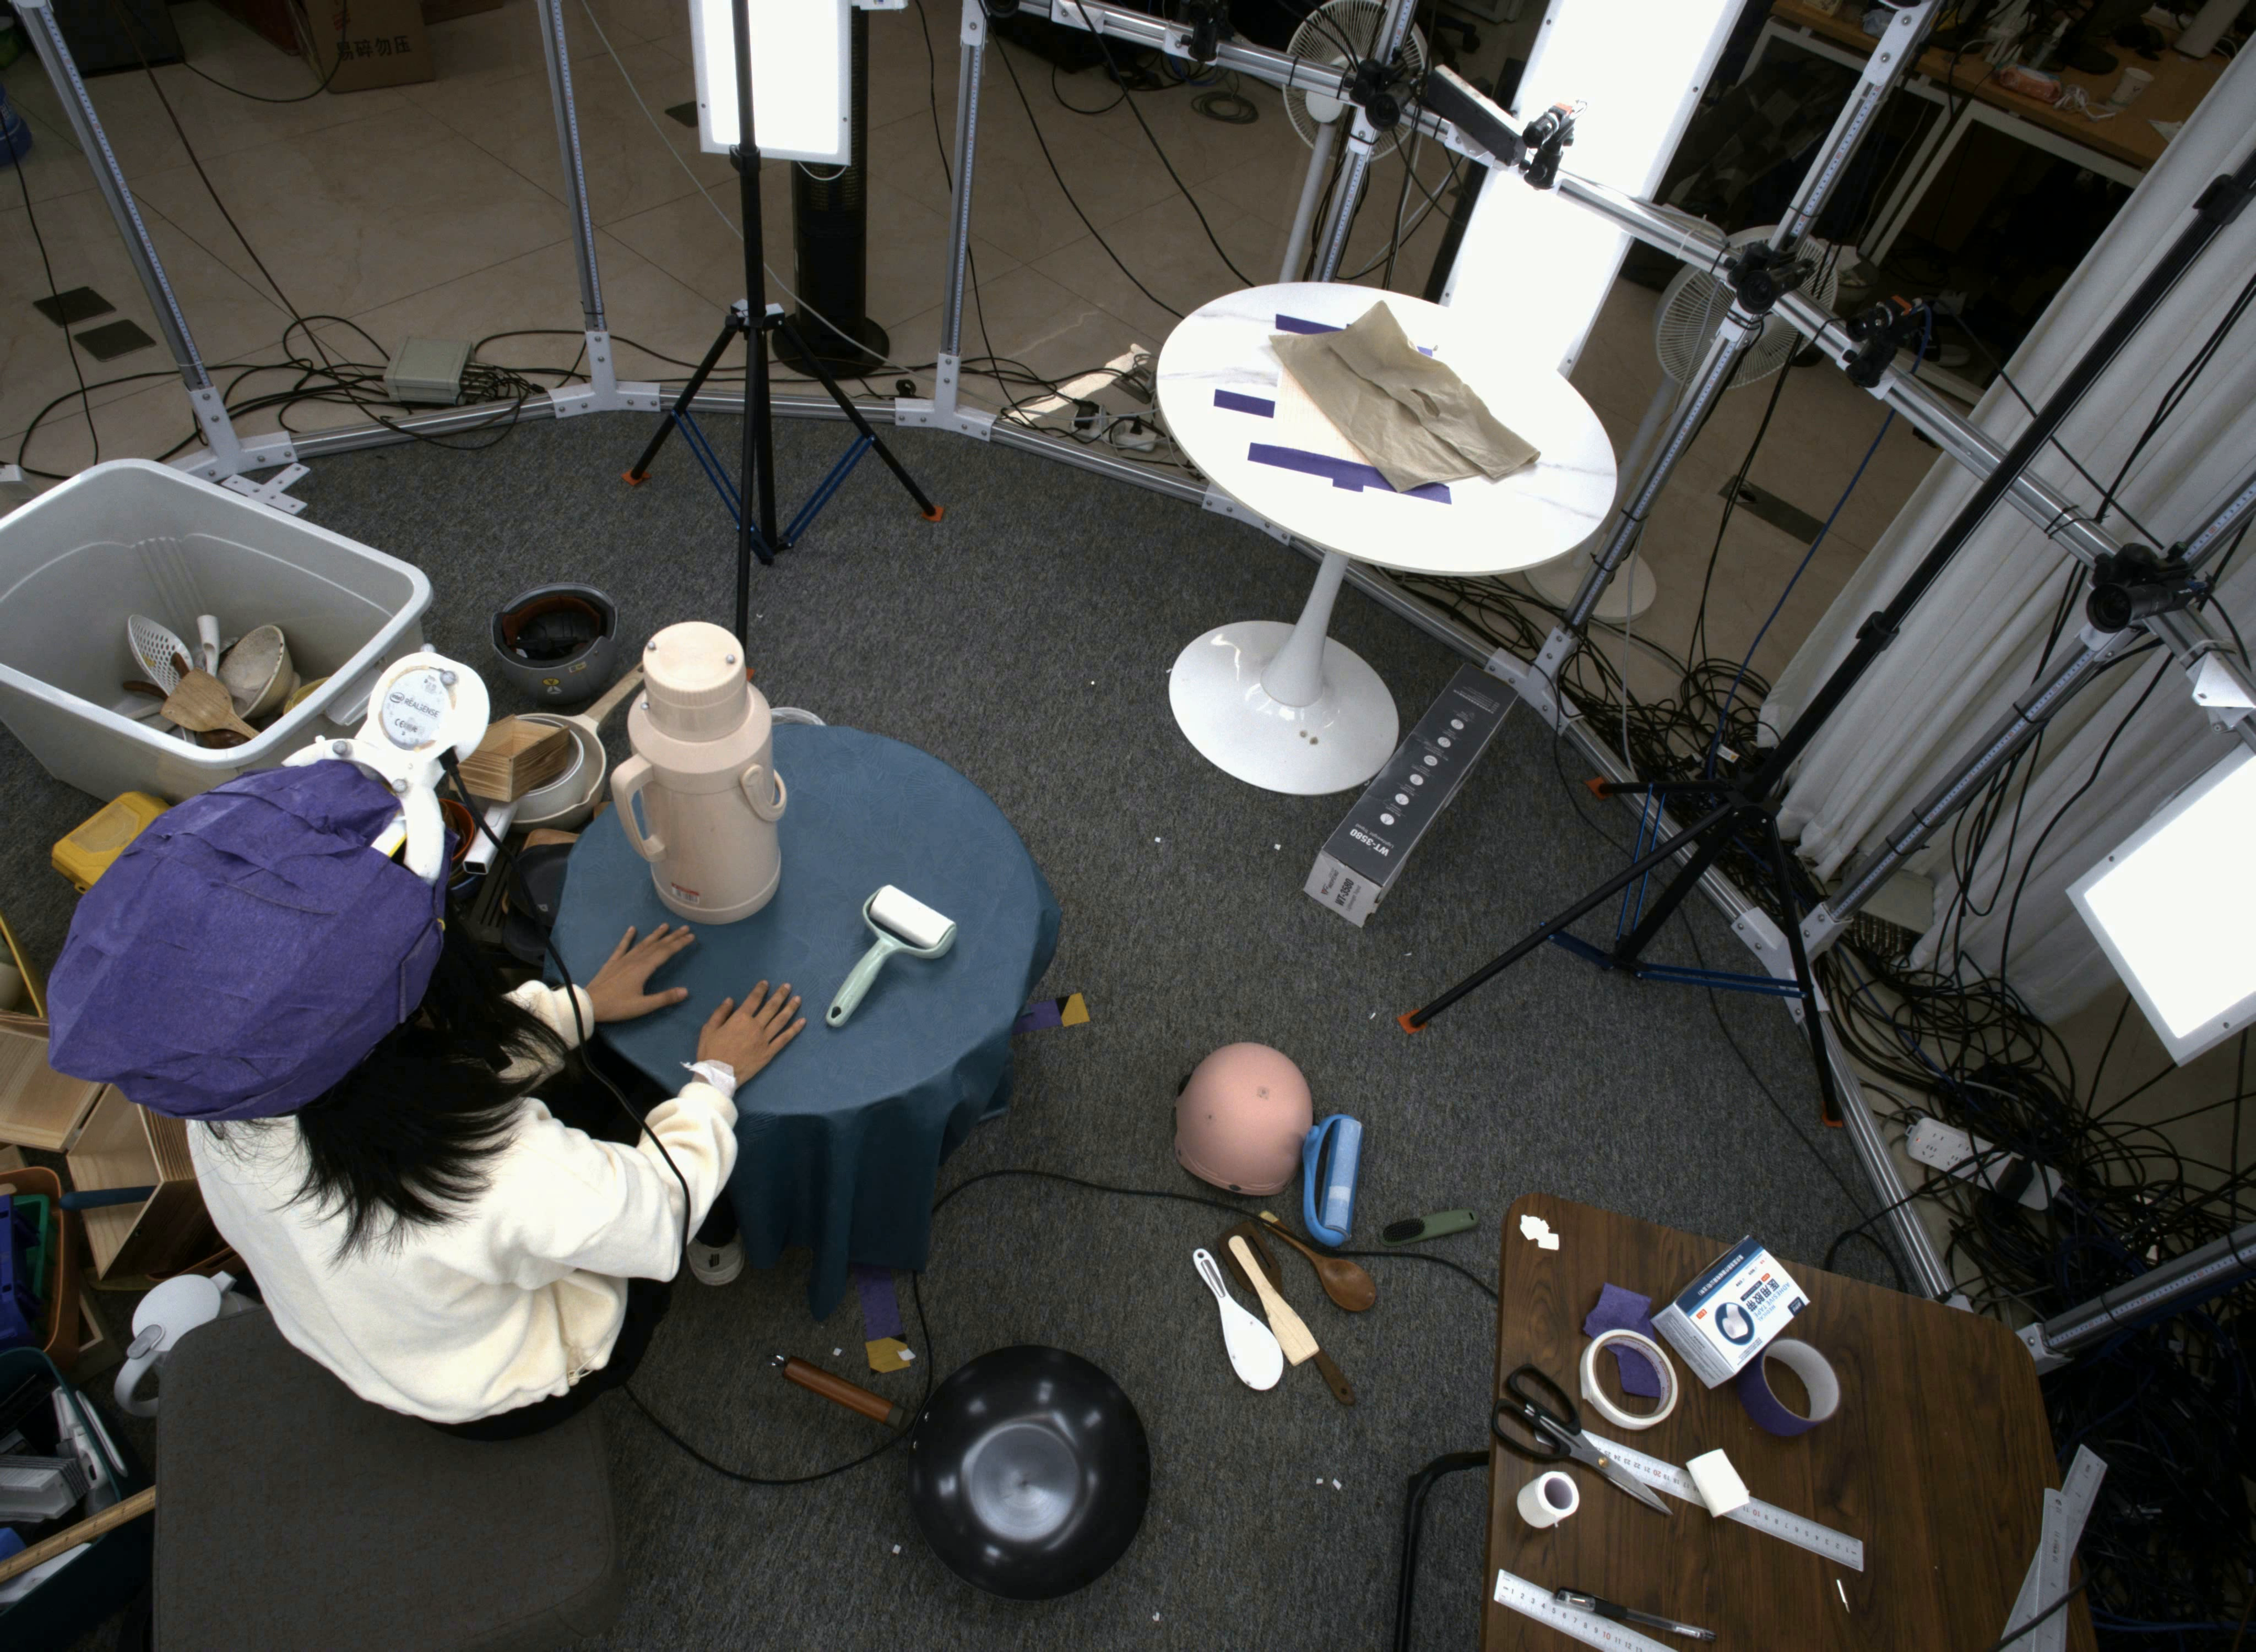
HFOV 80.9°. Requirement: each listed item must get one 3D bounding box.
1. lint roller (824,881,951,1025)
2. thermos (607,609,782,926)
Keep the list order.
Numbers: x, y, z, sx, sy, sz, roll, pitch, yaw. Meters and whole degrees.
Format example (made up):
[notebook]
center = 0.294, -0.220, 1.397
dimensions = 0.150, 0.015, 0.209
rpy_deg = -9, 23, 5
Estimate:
[lint roller]
center = -0.314, 0.158, 1.599
dimensions = 0.115, 0.049, 0.197
rpy_deg = 31, 51, 7
[thermos]
center = -0.502, -0.057, 1.484
dimensions = 0.171, 0.415, 0.207
rpy_deg = 36, 54, 16
